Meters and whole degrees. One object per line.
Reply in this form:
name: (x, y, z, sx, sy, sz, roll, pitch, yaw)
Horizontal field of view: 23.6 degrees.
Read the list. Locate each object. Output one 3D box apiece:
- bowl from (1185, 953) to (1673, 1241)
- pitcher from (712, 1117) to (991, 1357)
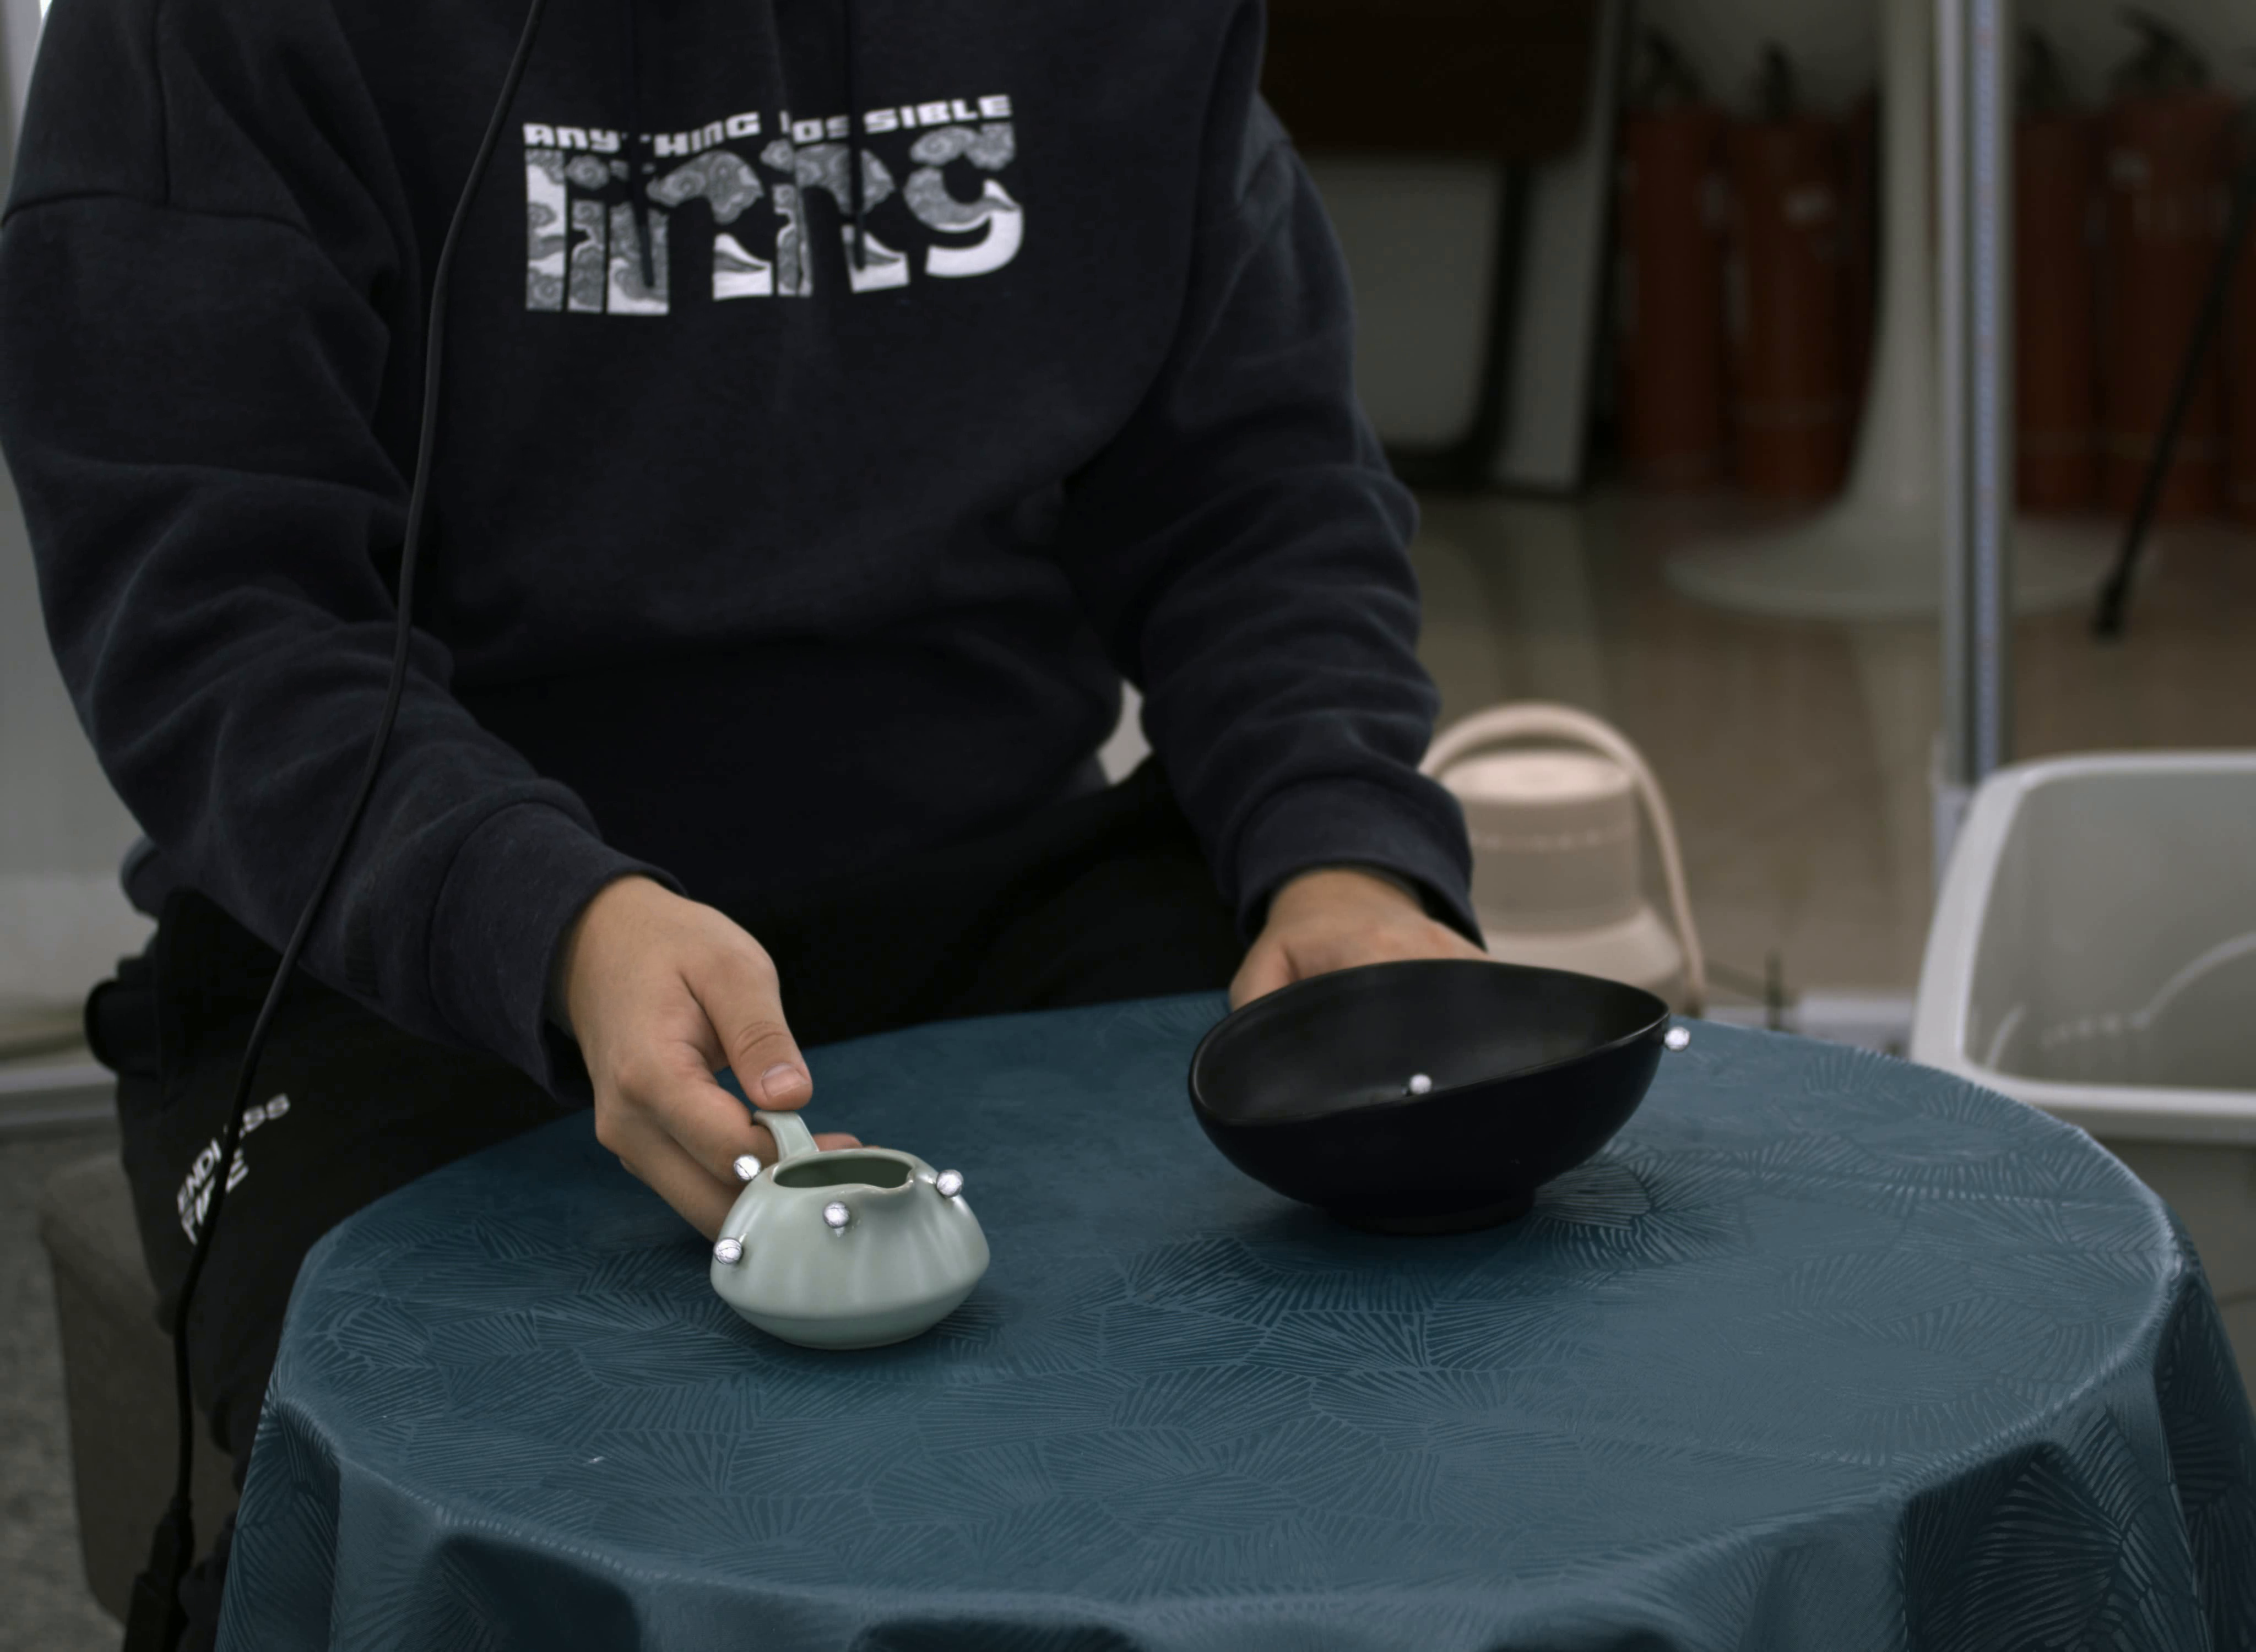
bowl: (0.099, 0.092, 1.733, 0.166, 0.067, 0.139, -14, 16, -33)
pitcher: (-0.090, 0.127, 1.662, 0.084, 0.061, 0.109, -9, 12, -27)
